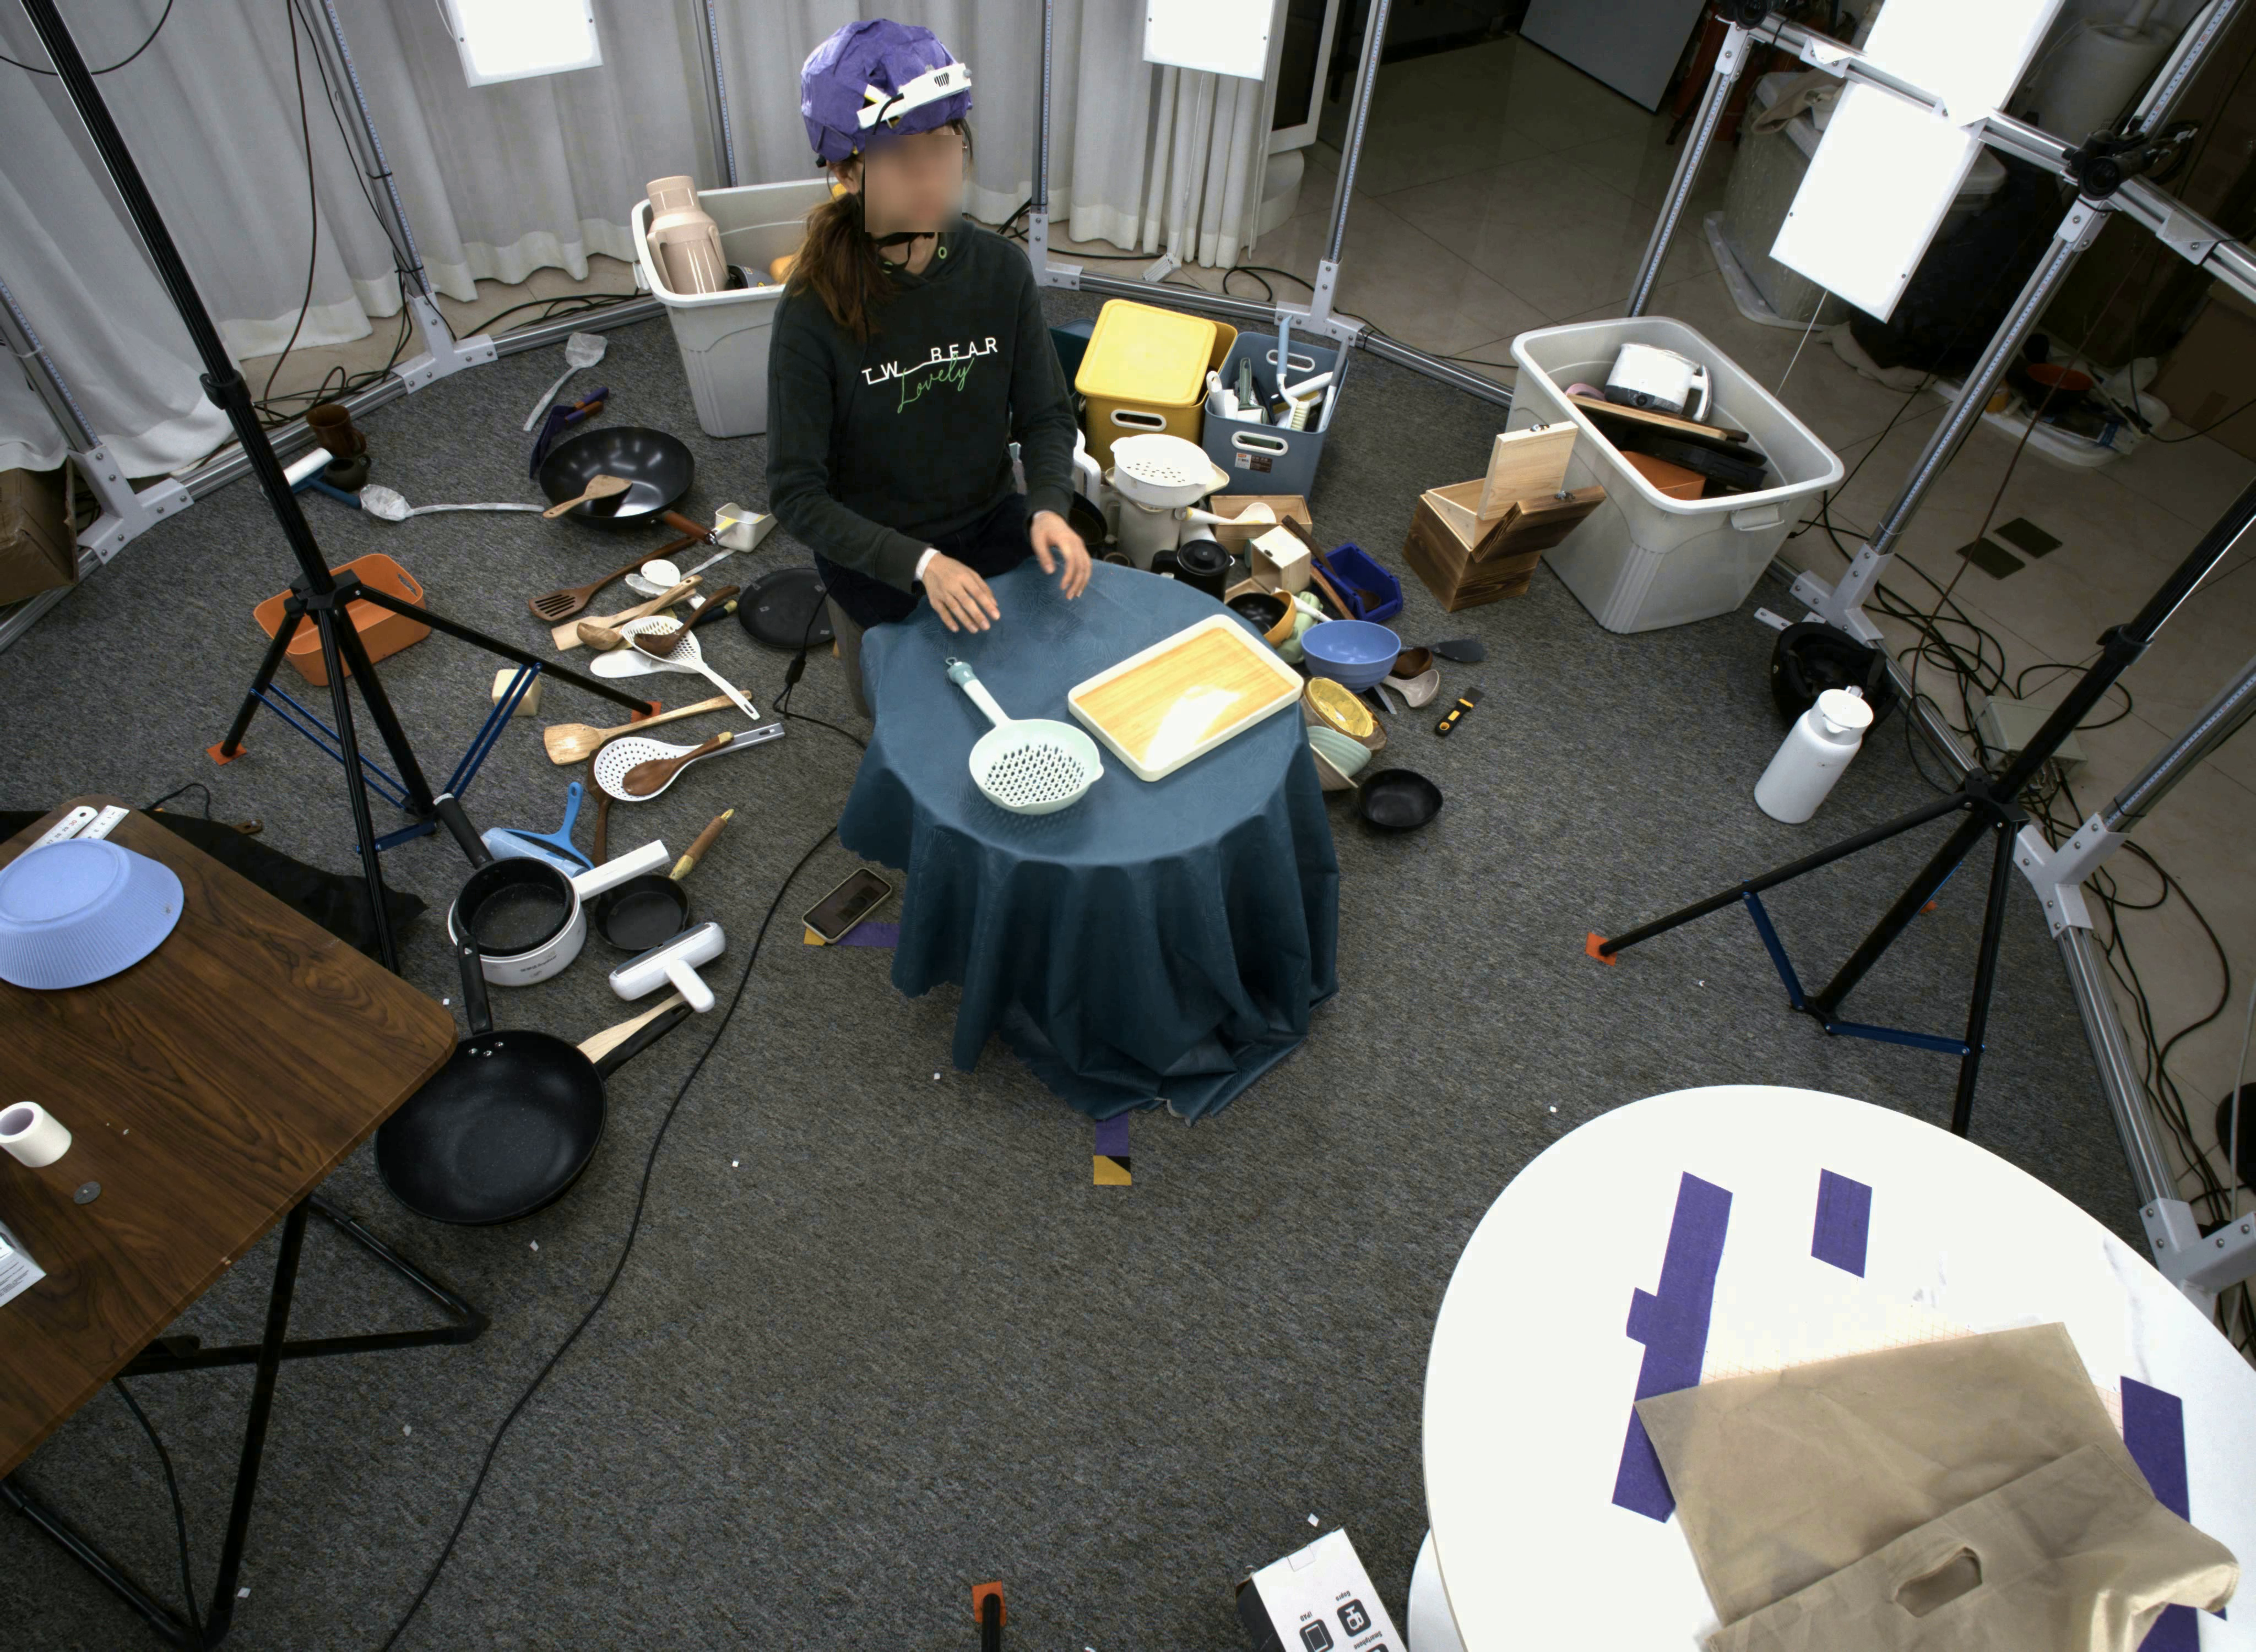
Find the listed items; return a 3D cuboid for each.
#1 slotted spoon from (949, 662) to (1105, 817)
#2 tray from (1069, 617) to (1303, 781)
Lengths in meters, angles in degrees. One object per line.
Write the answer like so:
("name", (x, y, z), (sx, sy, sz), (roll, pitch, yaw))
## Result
("slotted spoon", (-0.168, -0.134, 1.748), (0.170, 0.073, 0.366), (-19, 53, -21))
("tray", (0.084, -0.187, 1.836), (0.302, 0.027, 0.195), (-30, 57, -27))
